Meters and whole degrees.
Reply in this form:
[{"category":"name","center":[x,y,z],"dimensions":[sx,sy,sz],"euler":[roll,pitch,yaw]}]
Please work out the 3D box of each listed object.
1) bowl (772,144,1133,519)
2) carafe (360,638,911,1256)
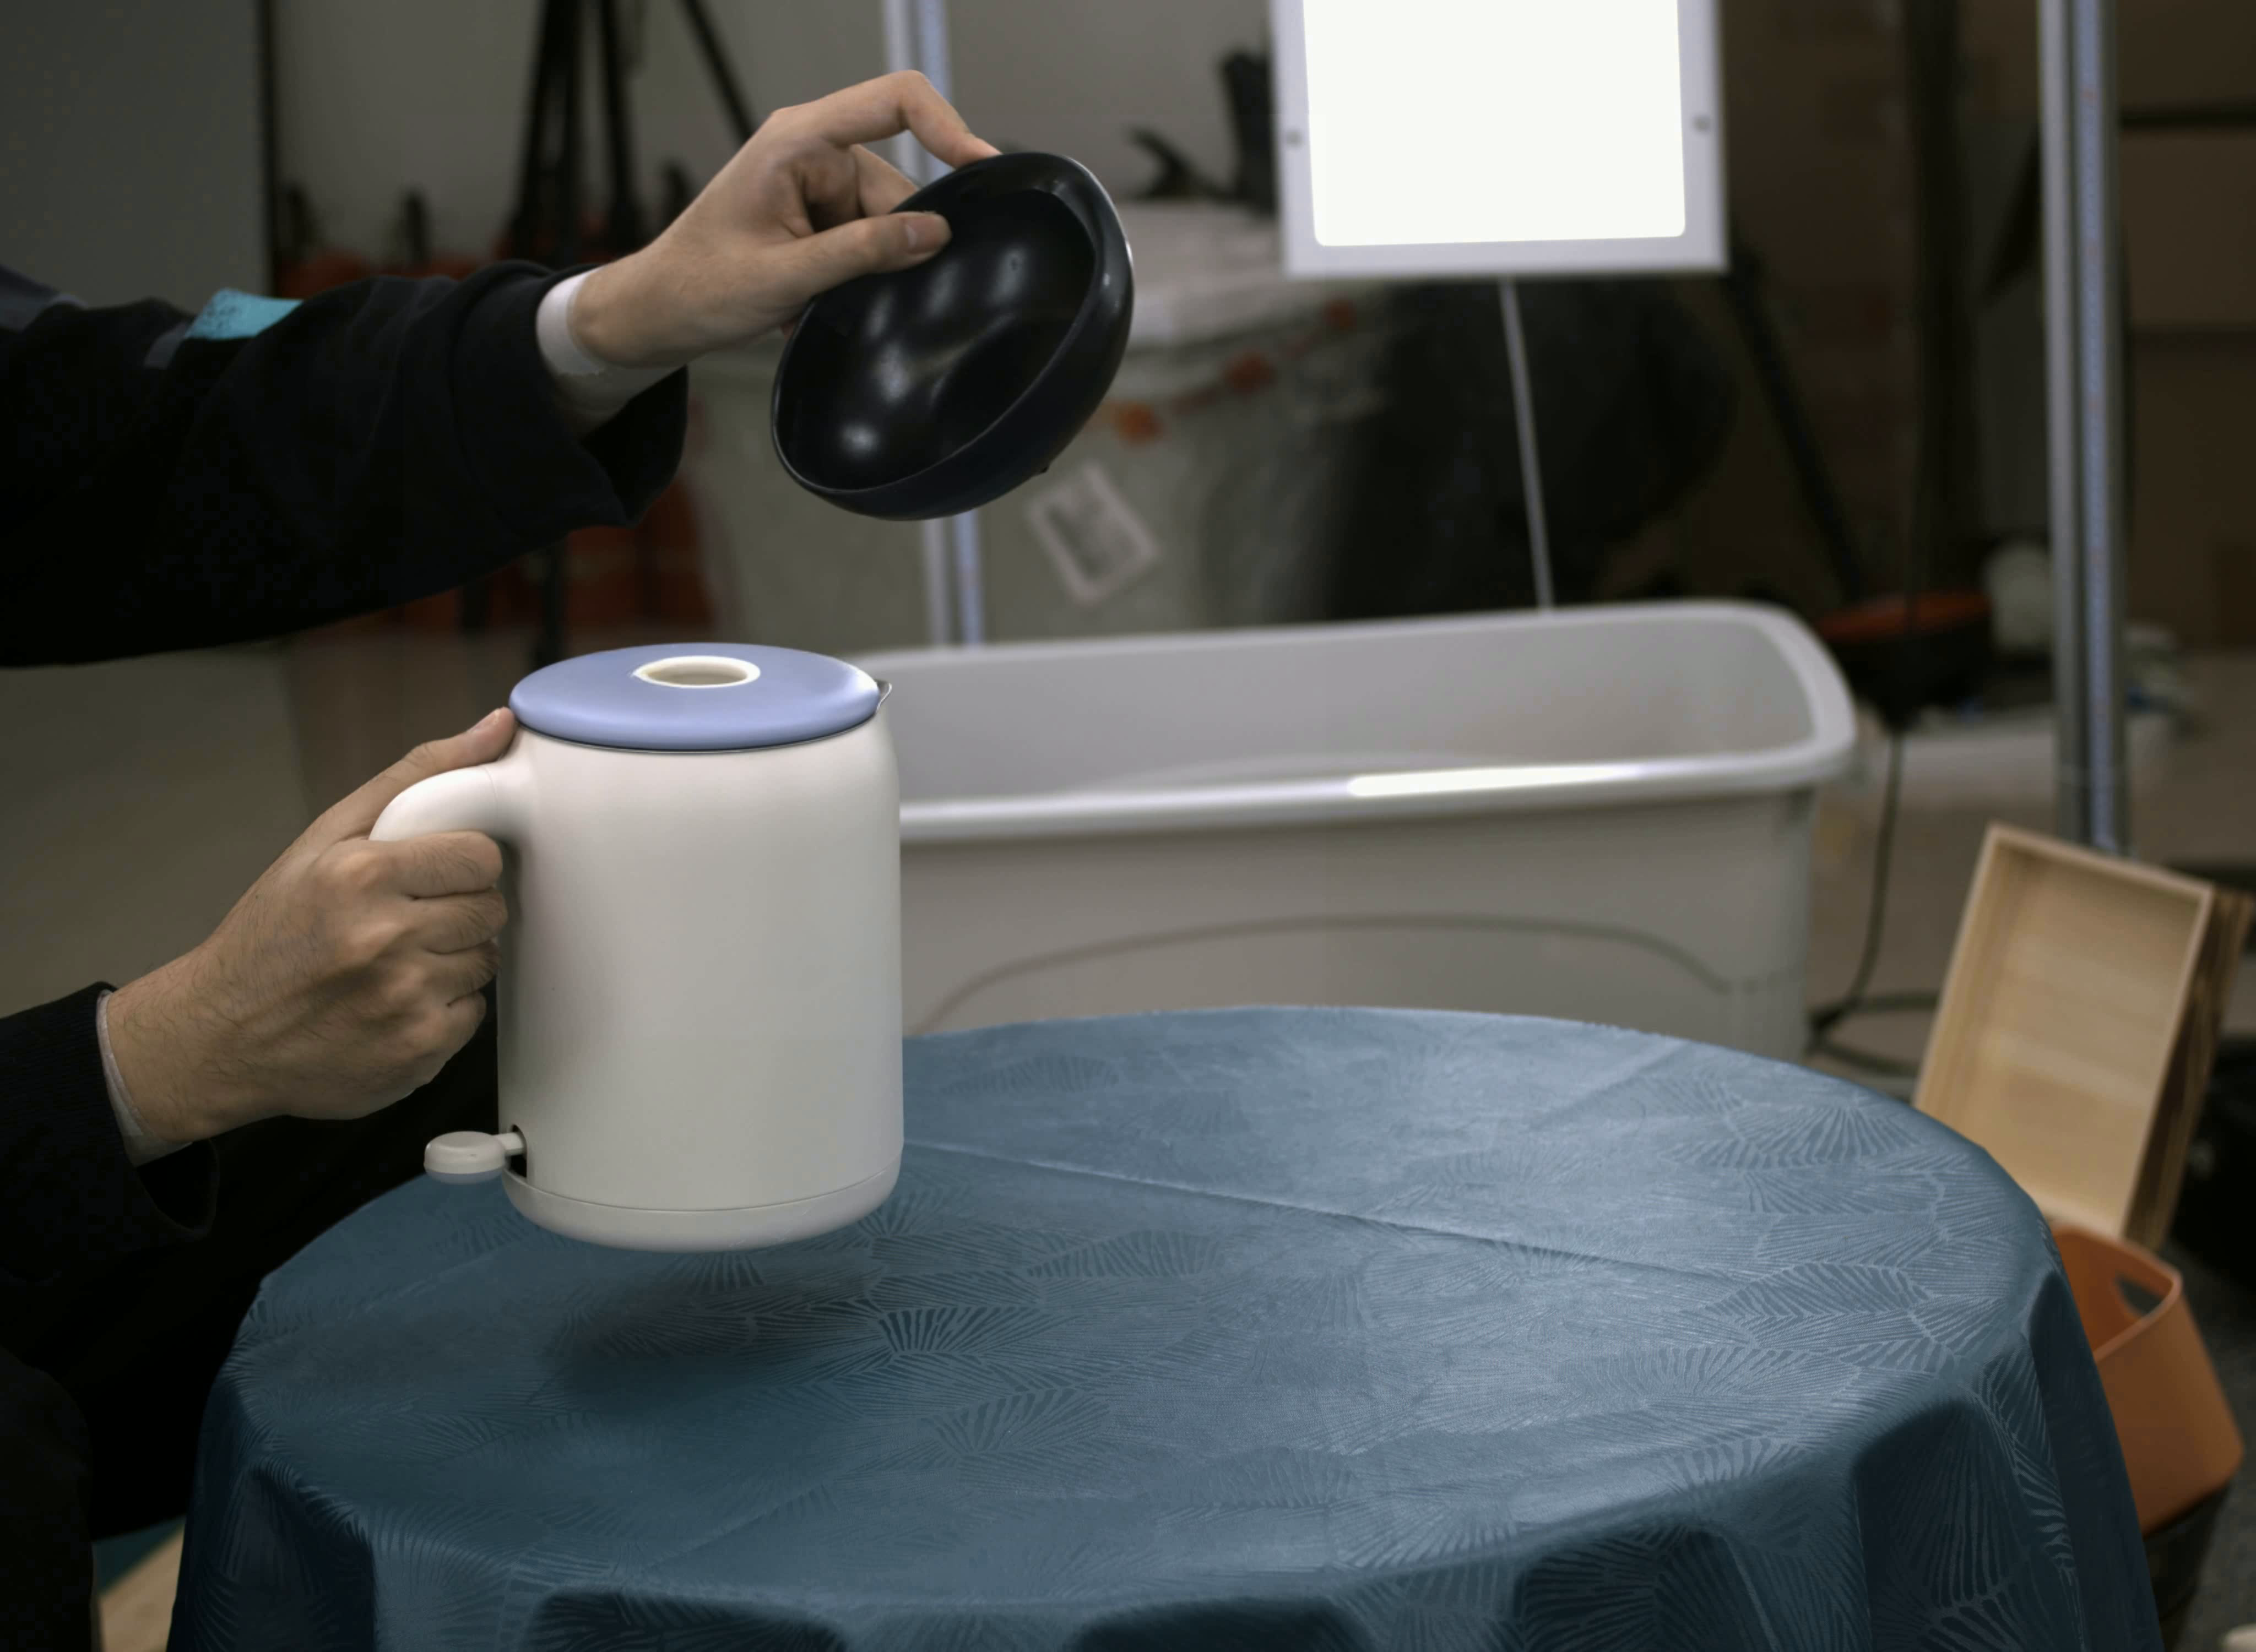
[{"category":"bowl","center":[-0.048,-0.152,1.792],"dimensions":[0.049,0.139,0.143],"euler":[39,-16,-35]},{"category":"carafe","center":[-0.158,0.042,1.759],"dimensions":[0.187,0.183,0.134],"euler":[-11,17,-27]}]
